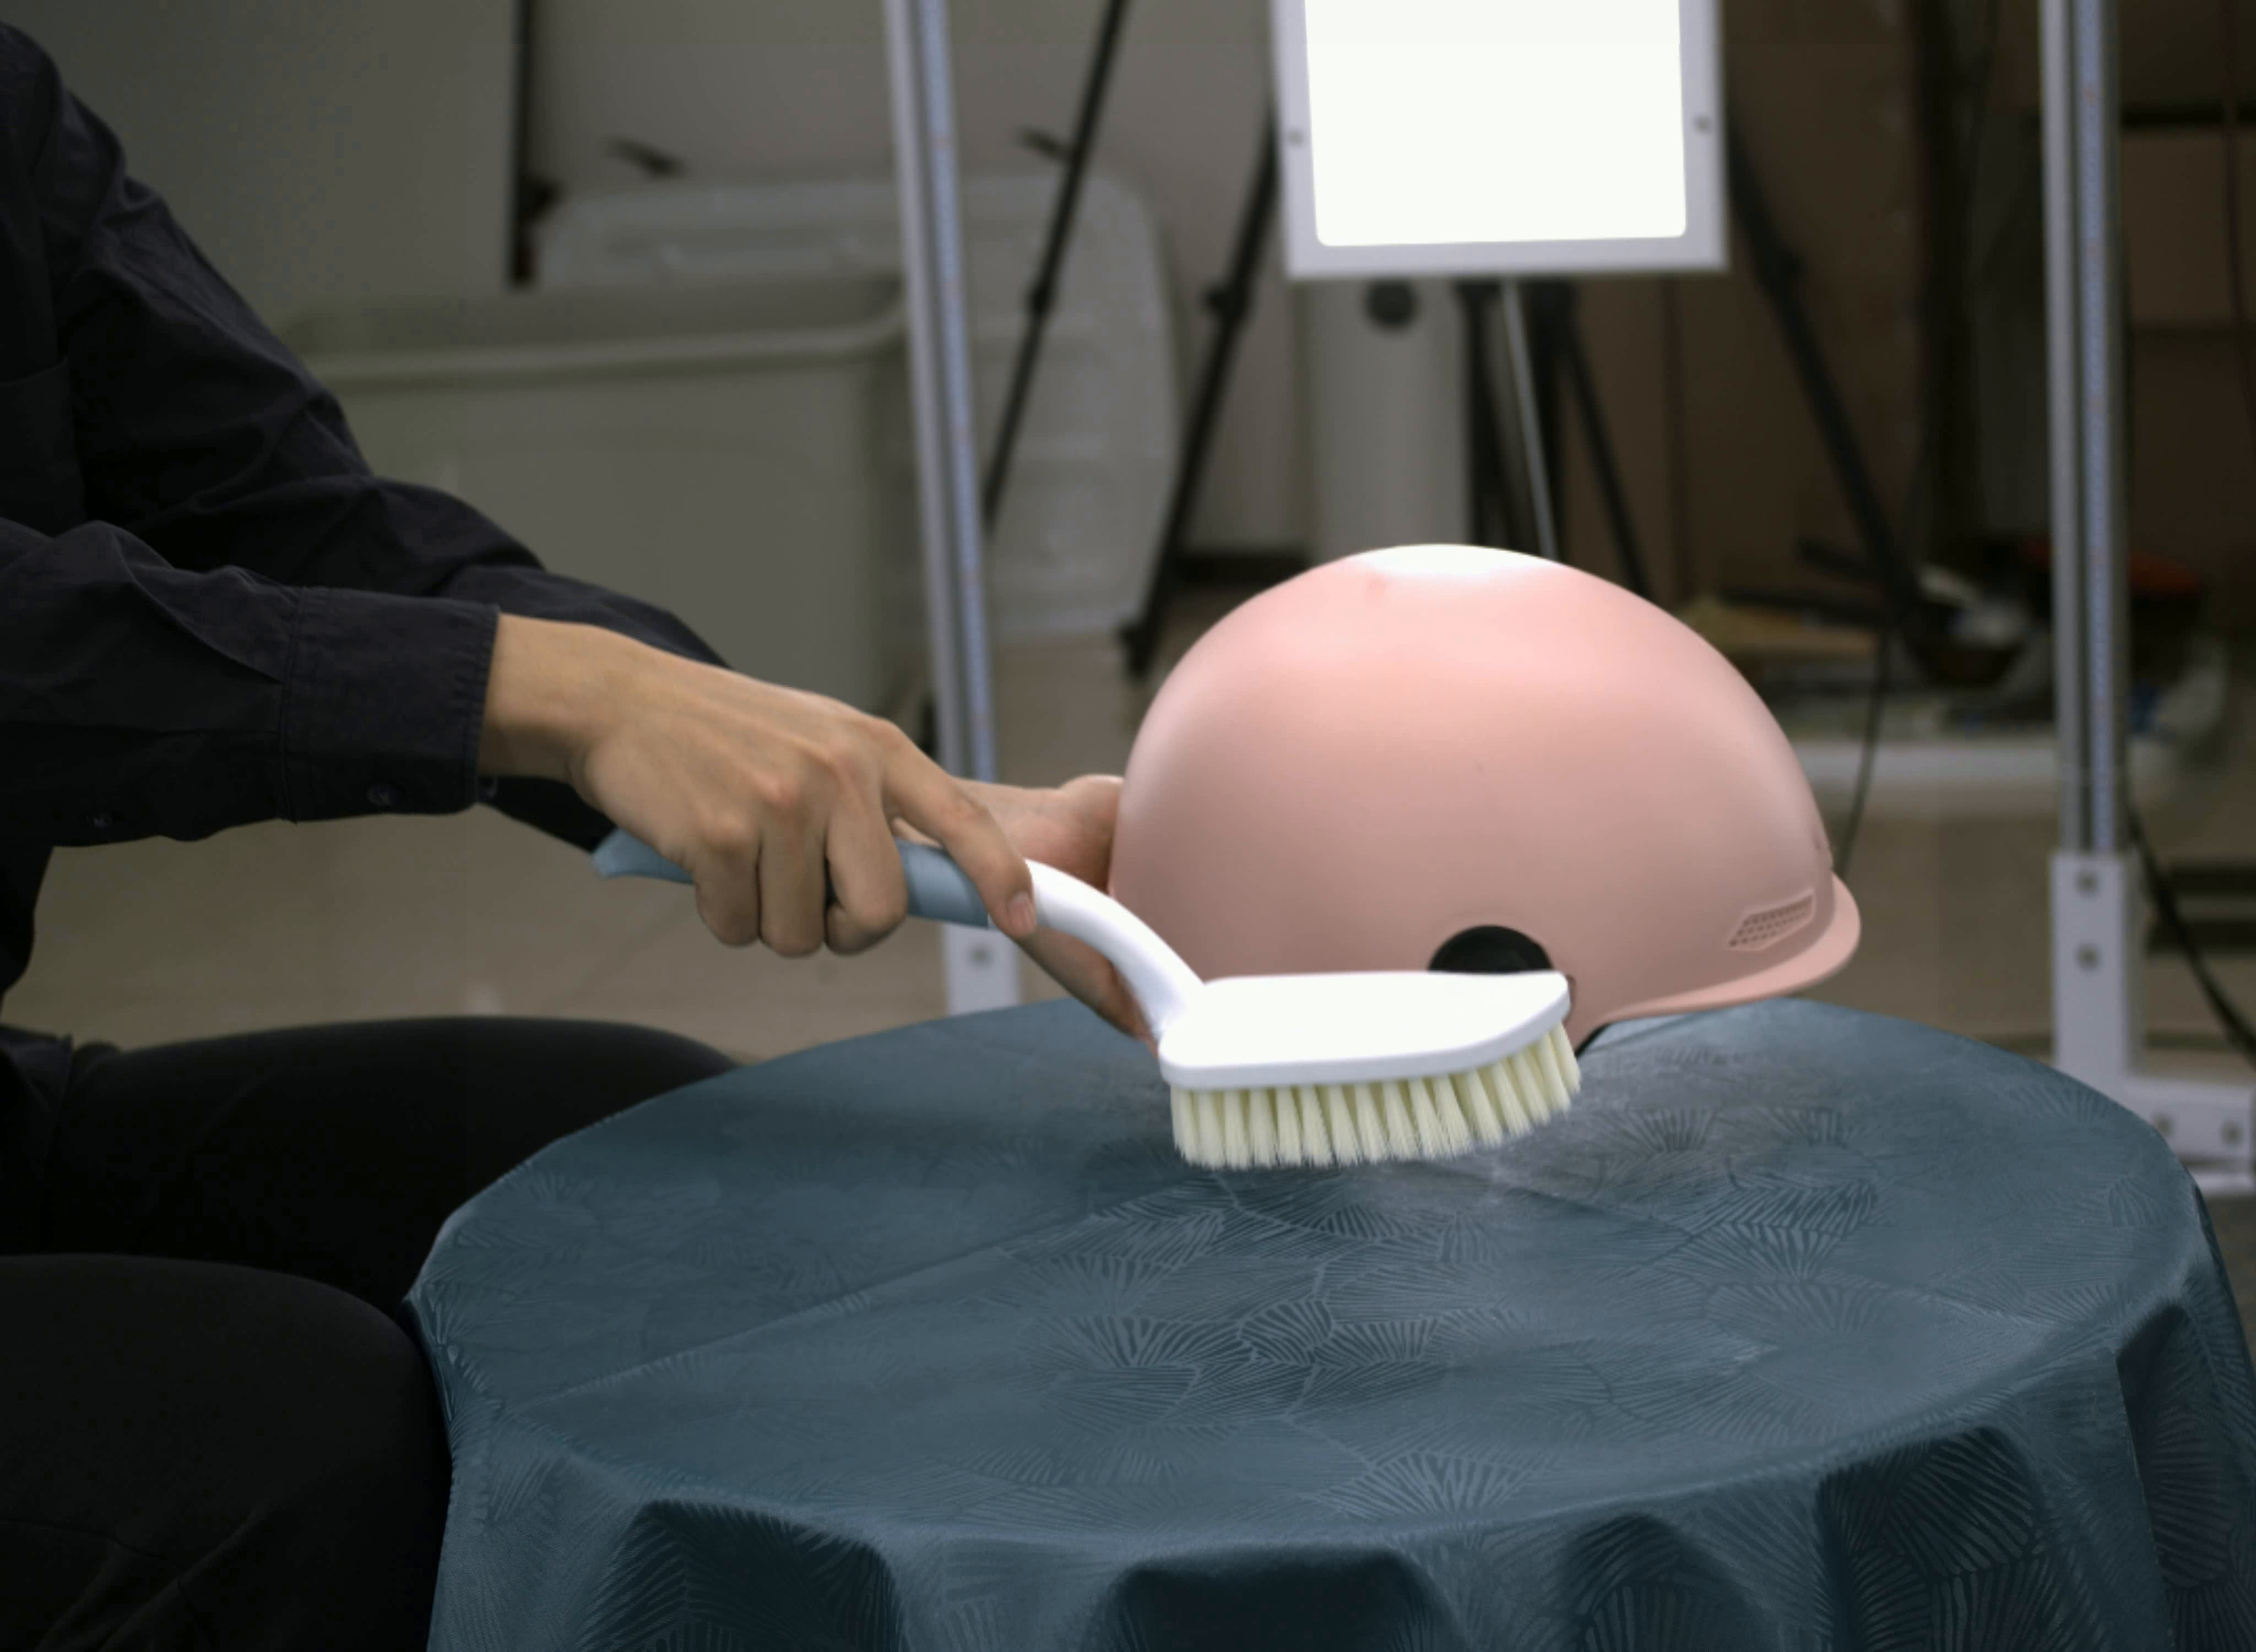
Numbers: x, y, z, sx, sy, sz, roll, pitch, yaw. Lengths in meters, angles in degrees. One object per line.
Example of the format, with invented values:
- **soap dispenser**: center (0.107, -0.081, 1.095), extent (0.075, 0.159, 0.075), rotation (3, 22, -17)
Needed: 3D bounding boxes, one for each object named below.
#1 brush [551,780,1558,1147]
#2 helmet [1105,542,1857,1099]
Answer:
- **brush**: center (-0.026, 0.054, 1.739), extent (0.327, 0.084, 0.083), rotation (9, -14, 11)
- **helmet**: center (0.119, -0.016, 1.917), extent (0.269, 0.159, 0.230), rotation (0, 20, 16)
